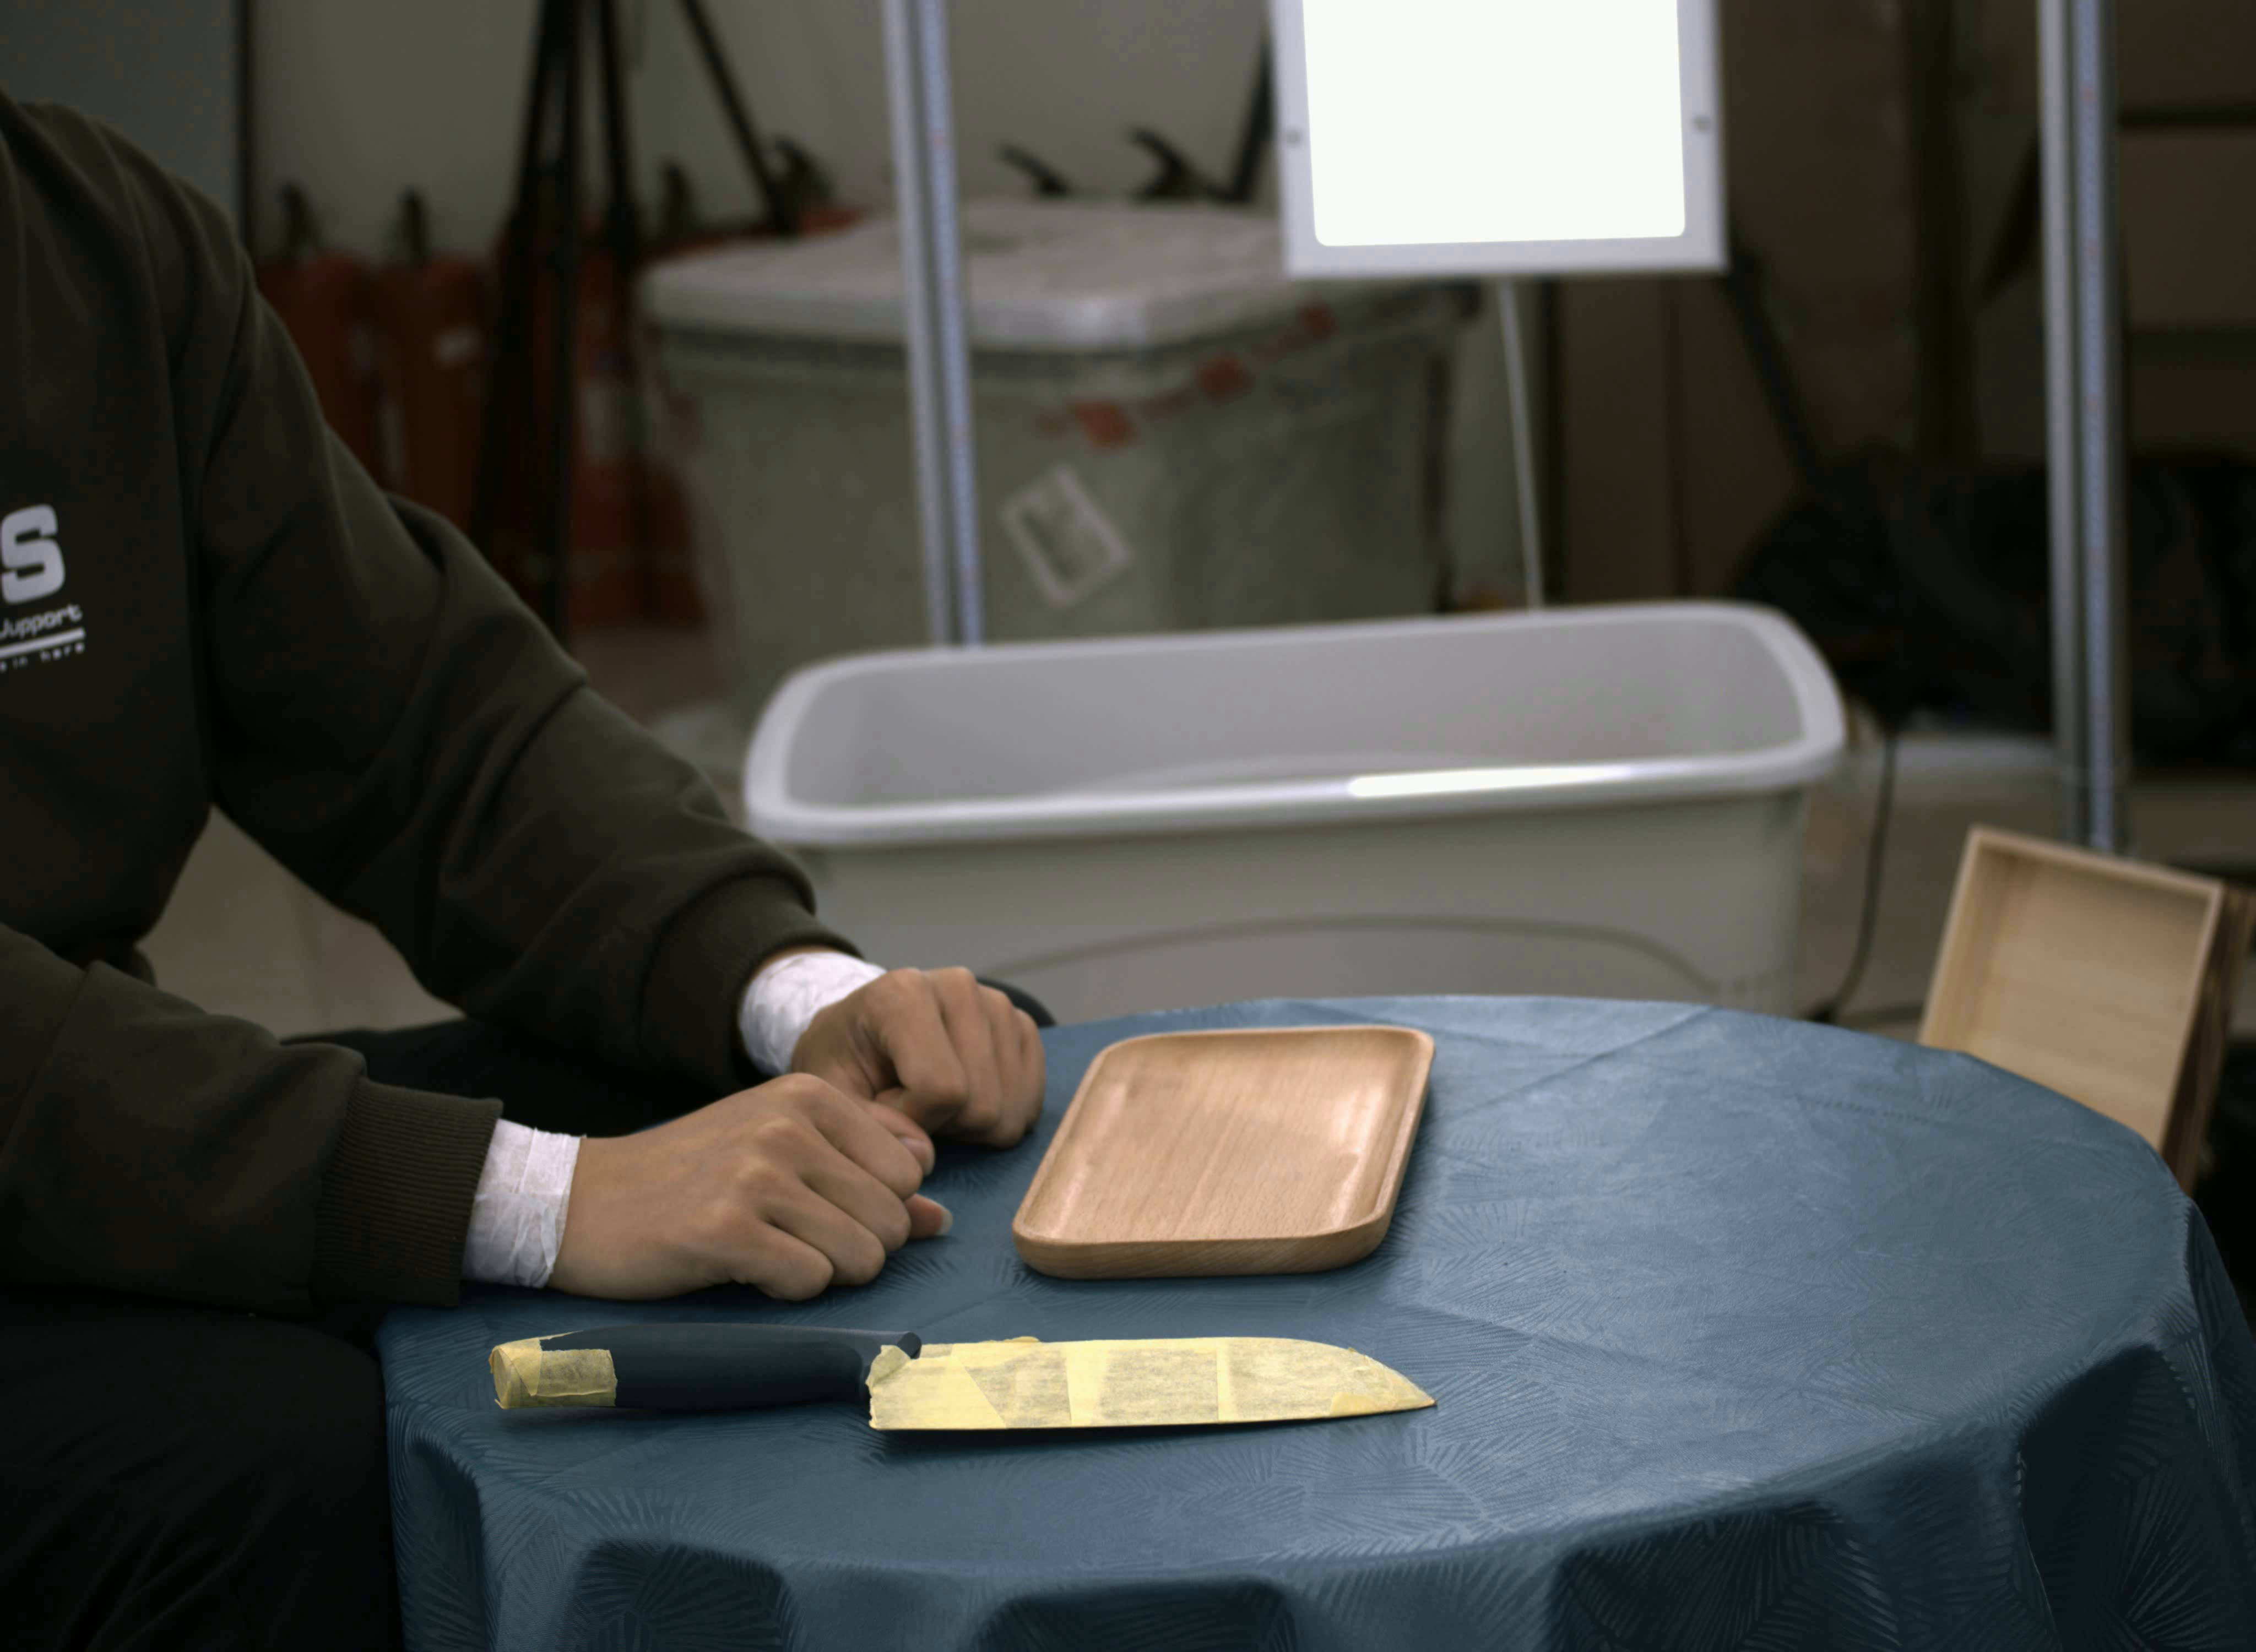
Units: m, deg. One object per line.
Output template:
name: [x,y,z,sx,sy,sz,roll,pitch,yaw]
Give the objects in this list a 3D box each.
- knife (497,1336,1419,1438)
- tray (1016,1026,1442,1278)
knife: [-0.054,0.174,1.698,0.290,0.027,0.080,-3,12,6]
tray: [0.039,0.112,1.916,0.131,0.023,0.248,-6,14,10]
